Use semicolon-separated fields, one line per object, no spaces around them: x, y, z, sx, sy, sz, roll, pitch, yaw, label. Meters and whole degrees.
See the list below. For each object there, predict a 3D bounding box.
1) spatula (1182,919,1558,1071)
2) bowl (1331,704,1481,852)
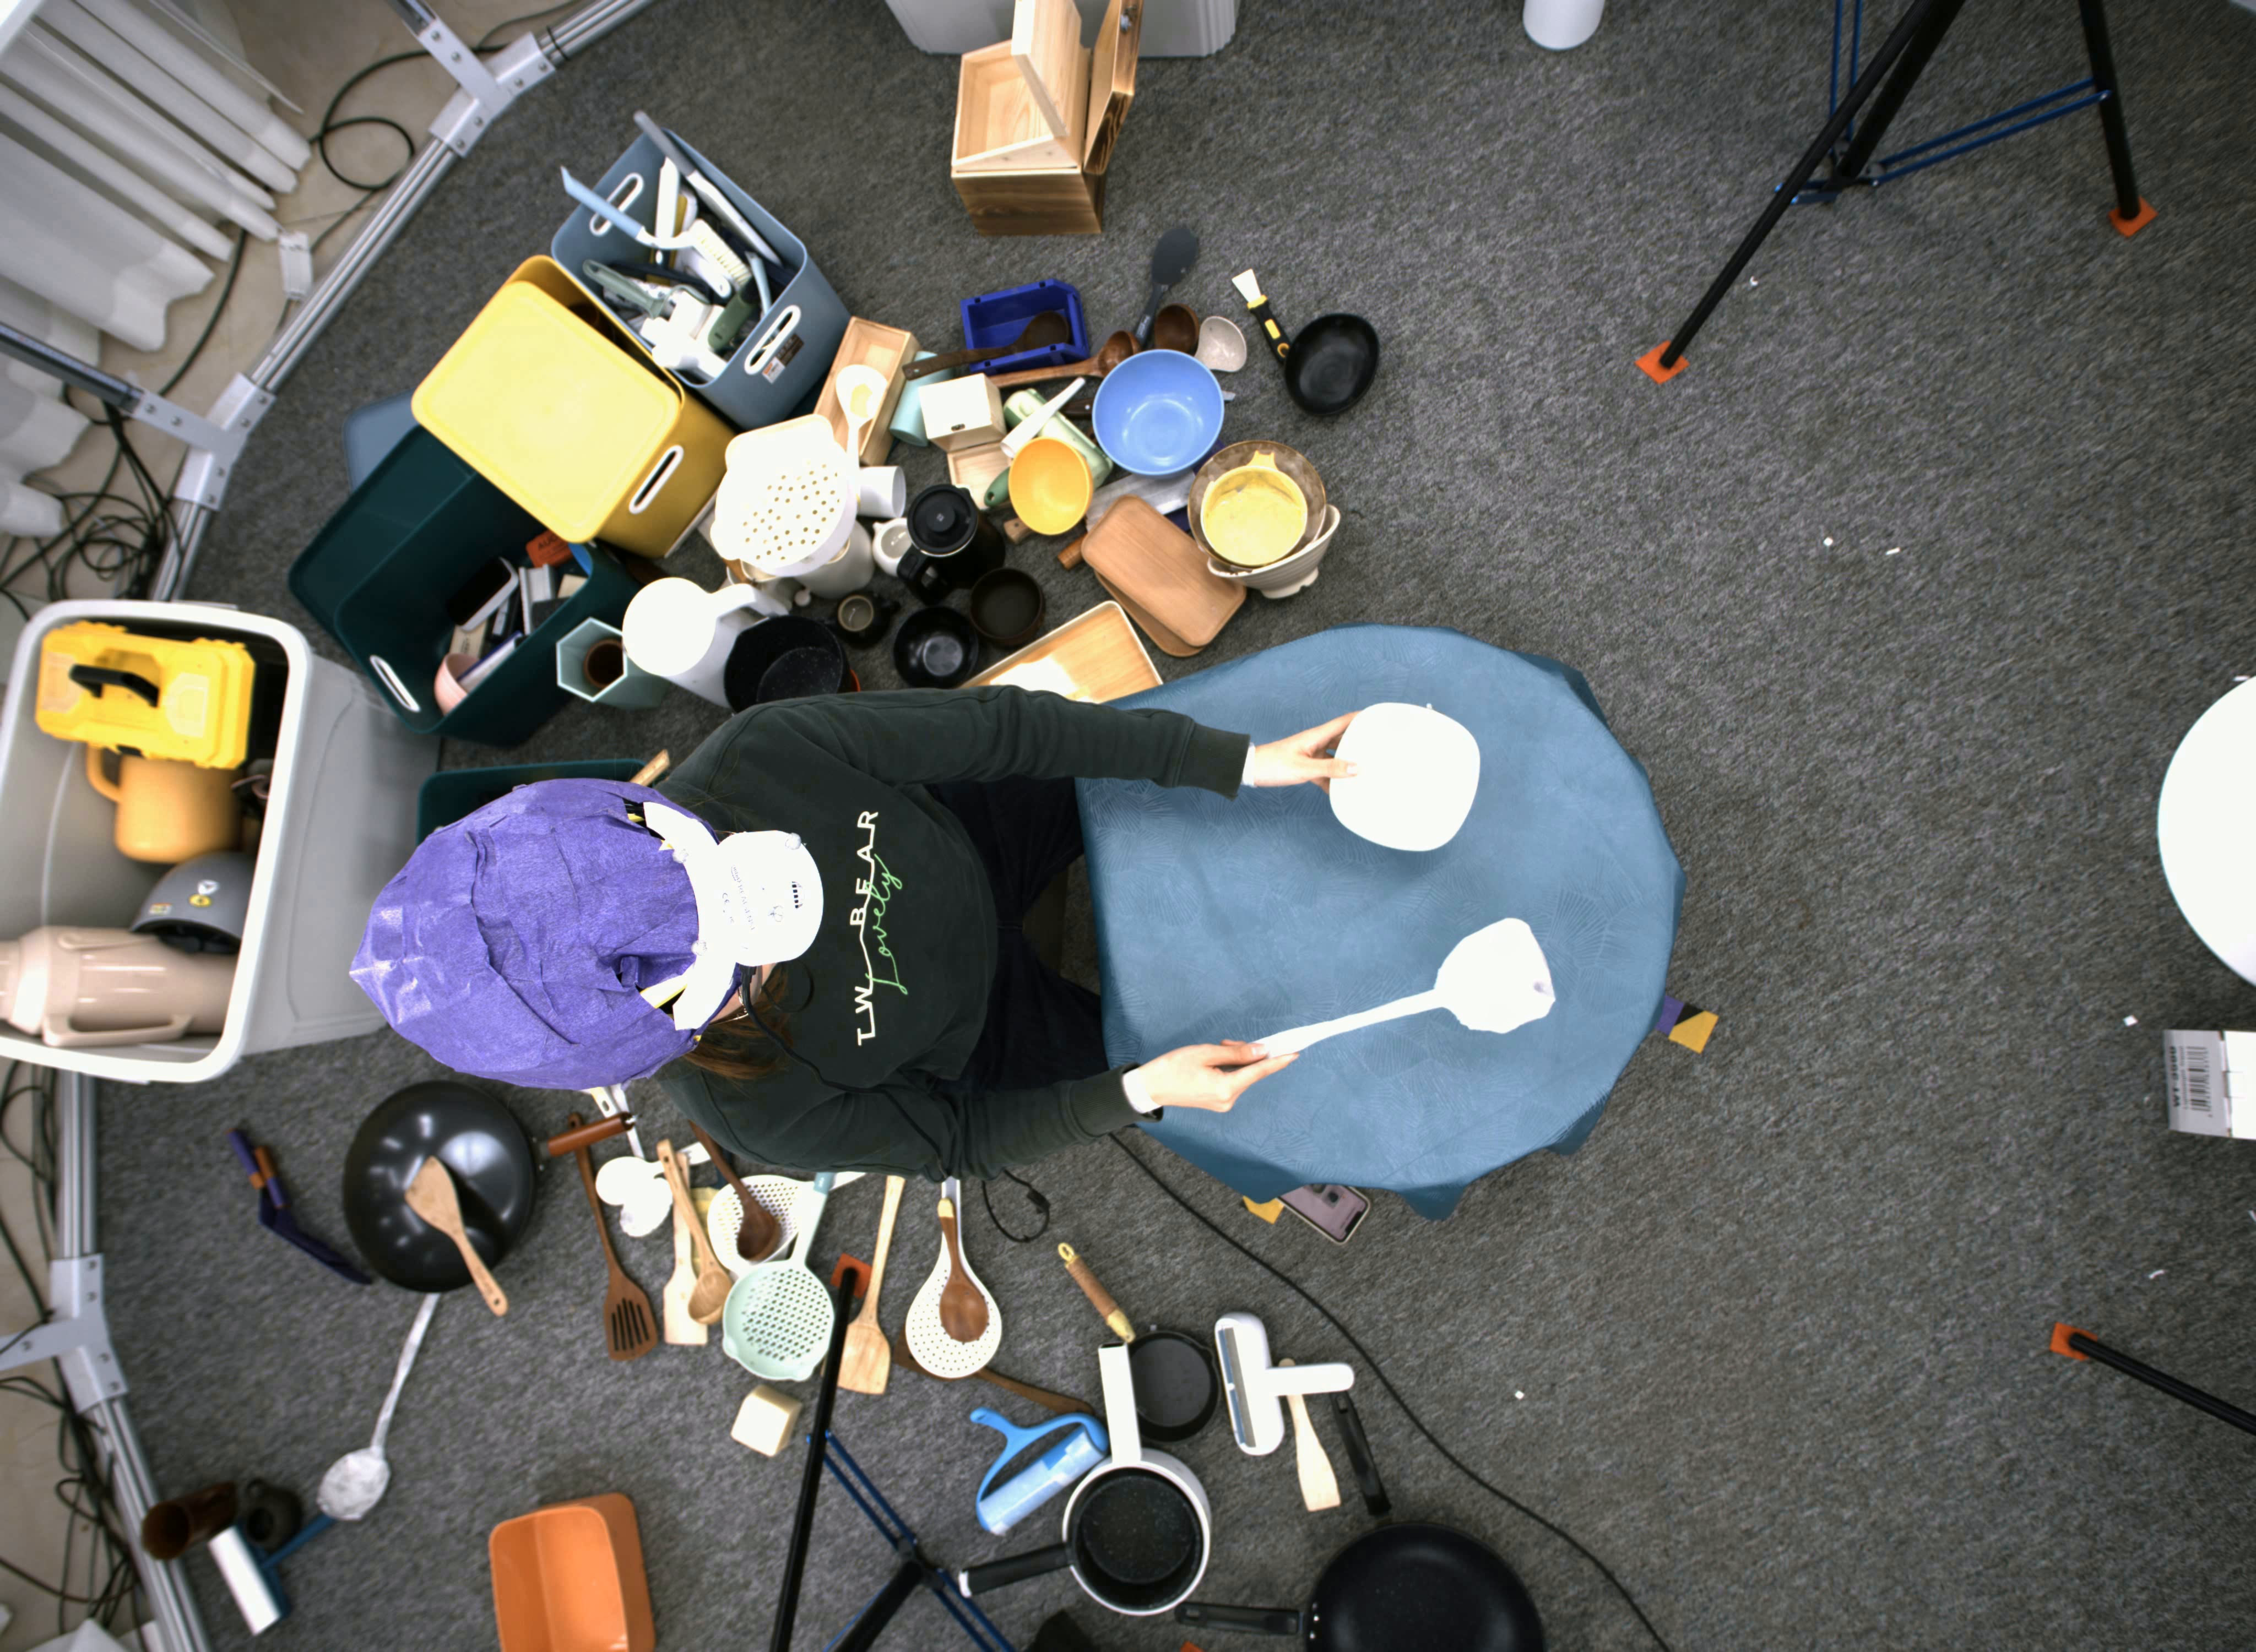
0.225;0.181;1.319;0.367;0.045;0.097;-17;75;8;spatula
0.275;-0.049;1.361;0.152;0.058;0.152;1;96;13;bowl
